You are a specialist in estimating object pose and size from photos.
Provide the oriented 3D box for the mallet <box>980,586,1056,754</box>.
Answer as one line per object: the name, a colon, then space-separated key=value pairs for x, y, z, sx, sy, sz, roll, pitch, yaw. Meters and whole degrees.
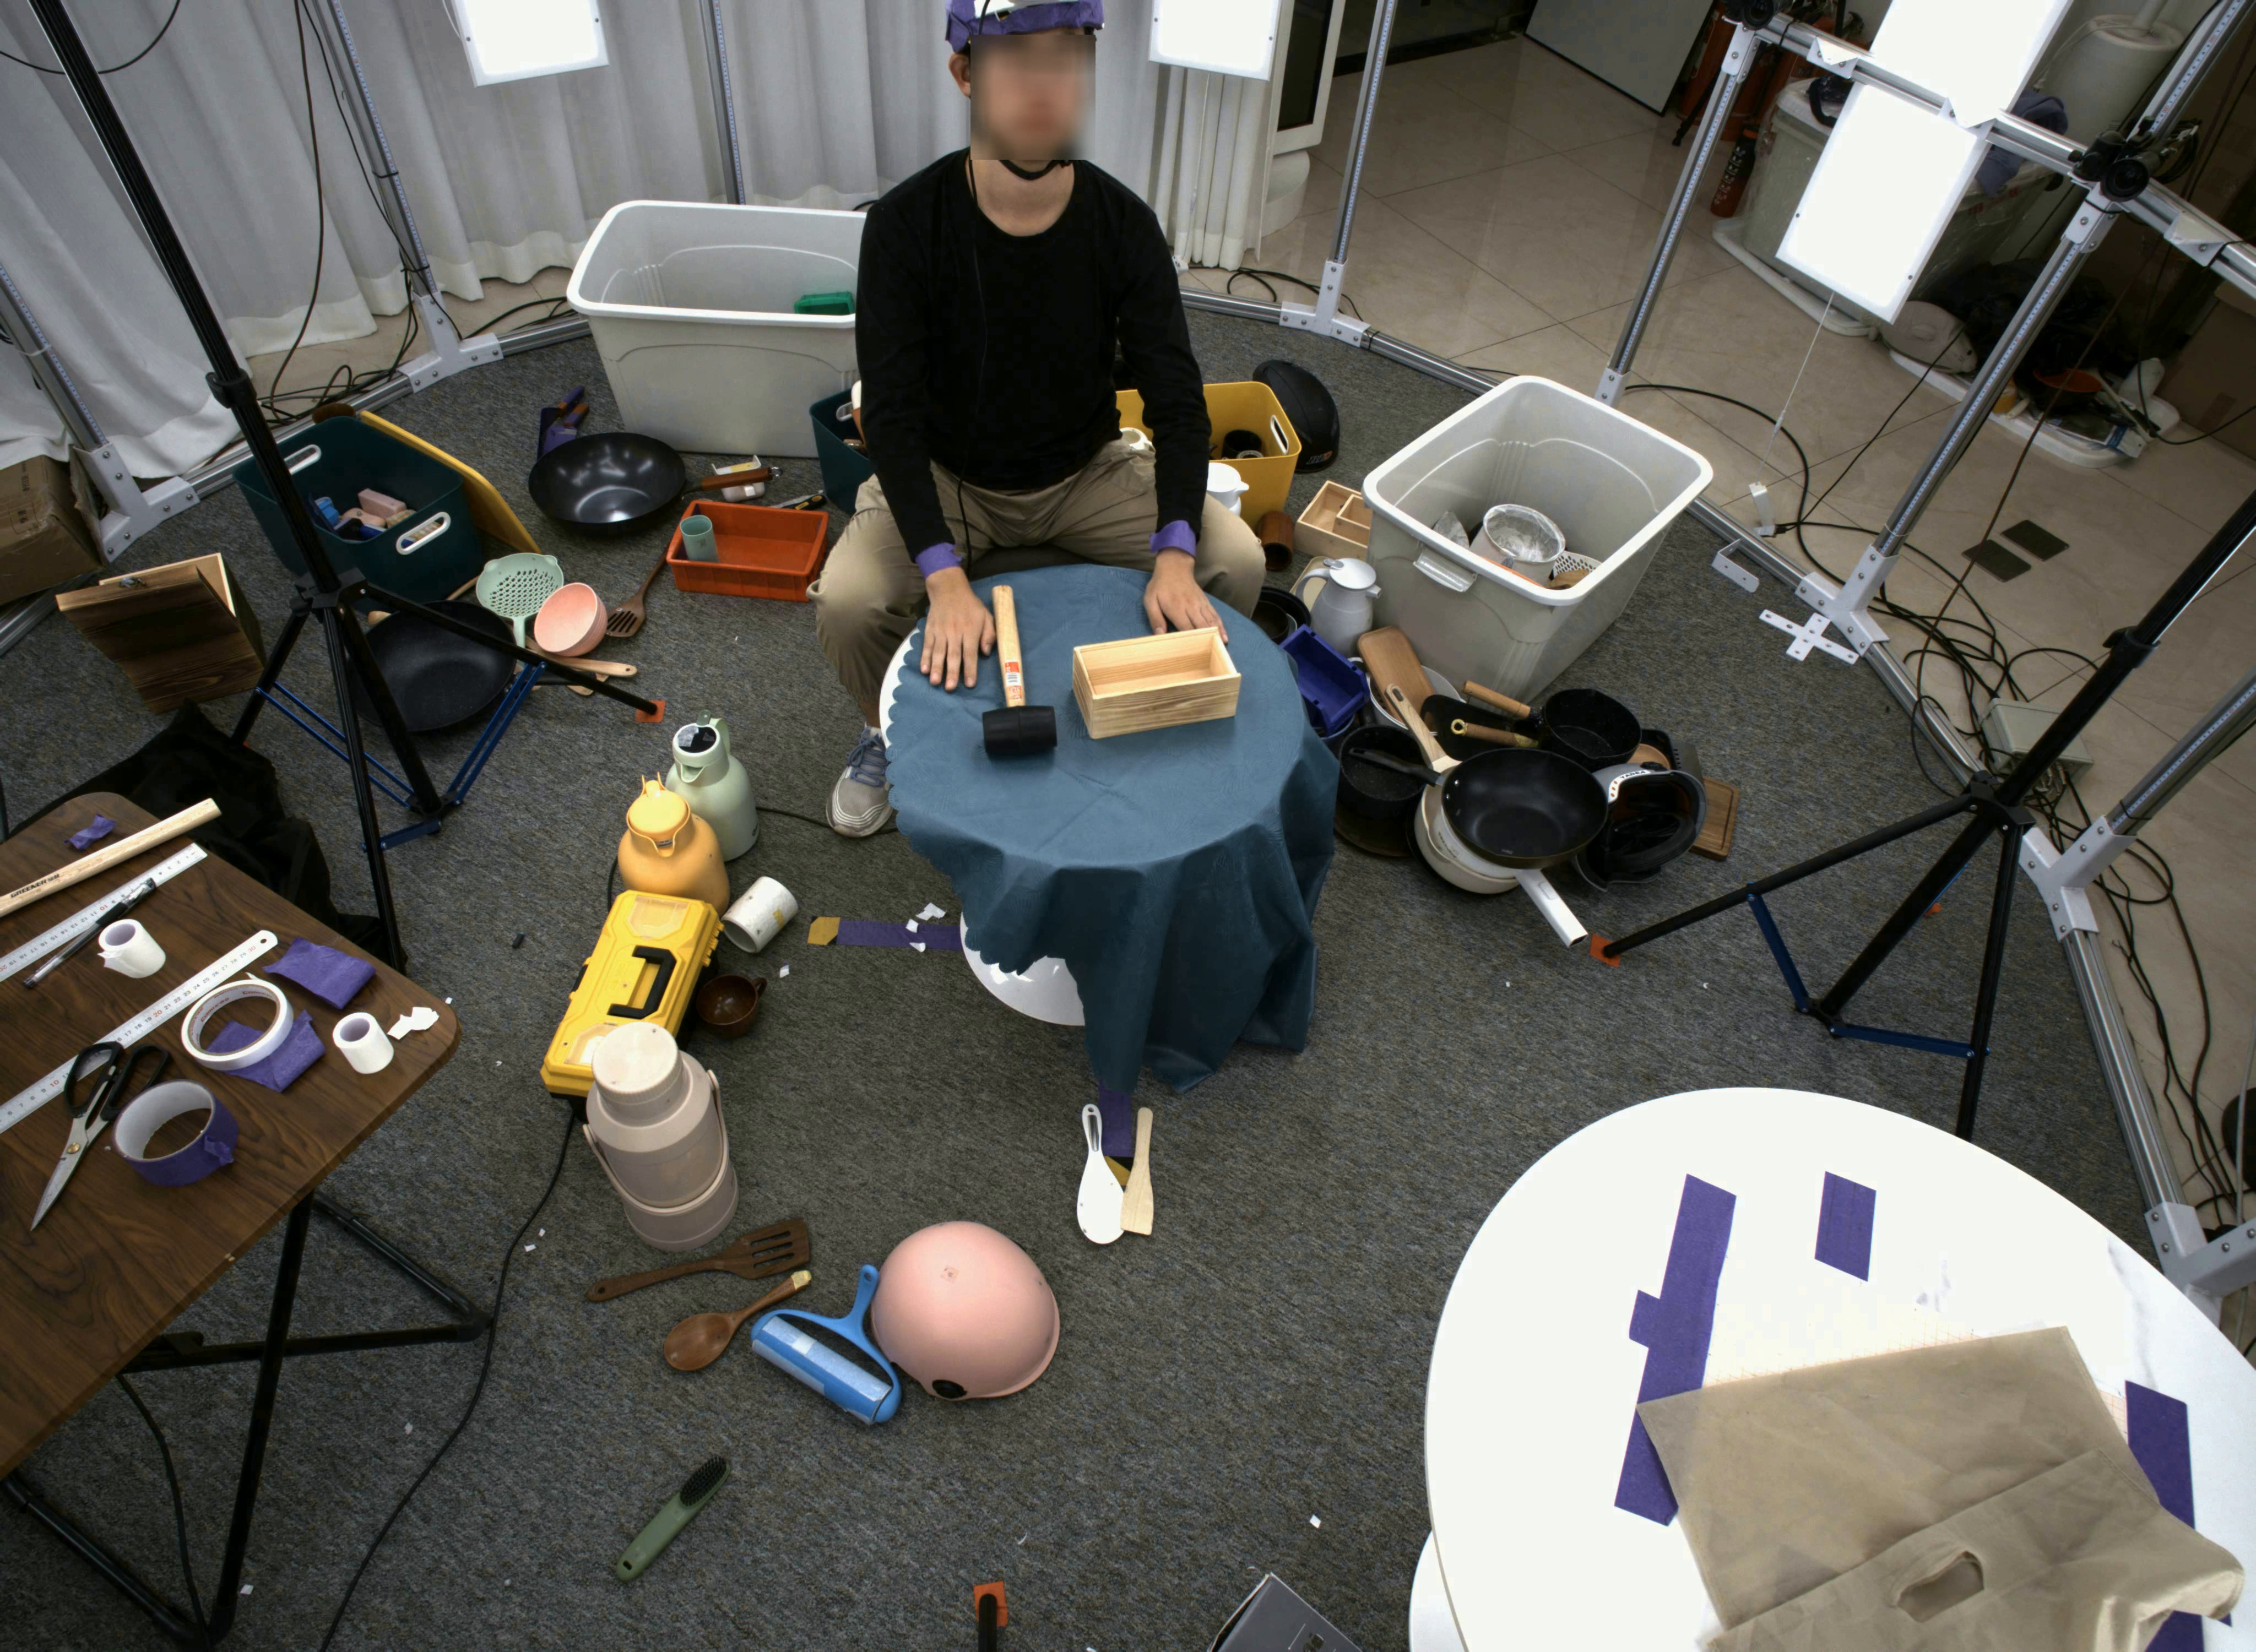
mallet: x=-0.164 y=-0.235 z=1.824 sx=0.102 sy=0.063 sz=0.347 roll=-2 pitch=49 yaw=-7

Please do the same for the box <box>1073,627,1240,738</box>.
box: x=0.037 y=-0.202 z=1.795 sx=0.211 sy=0.078 sz=0.110 roll=-10 pitch=50 yaw=-12
